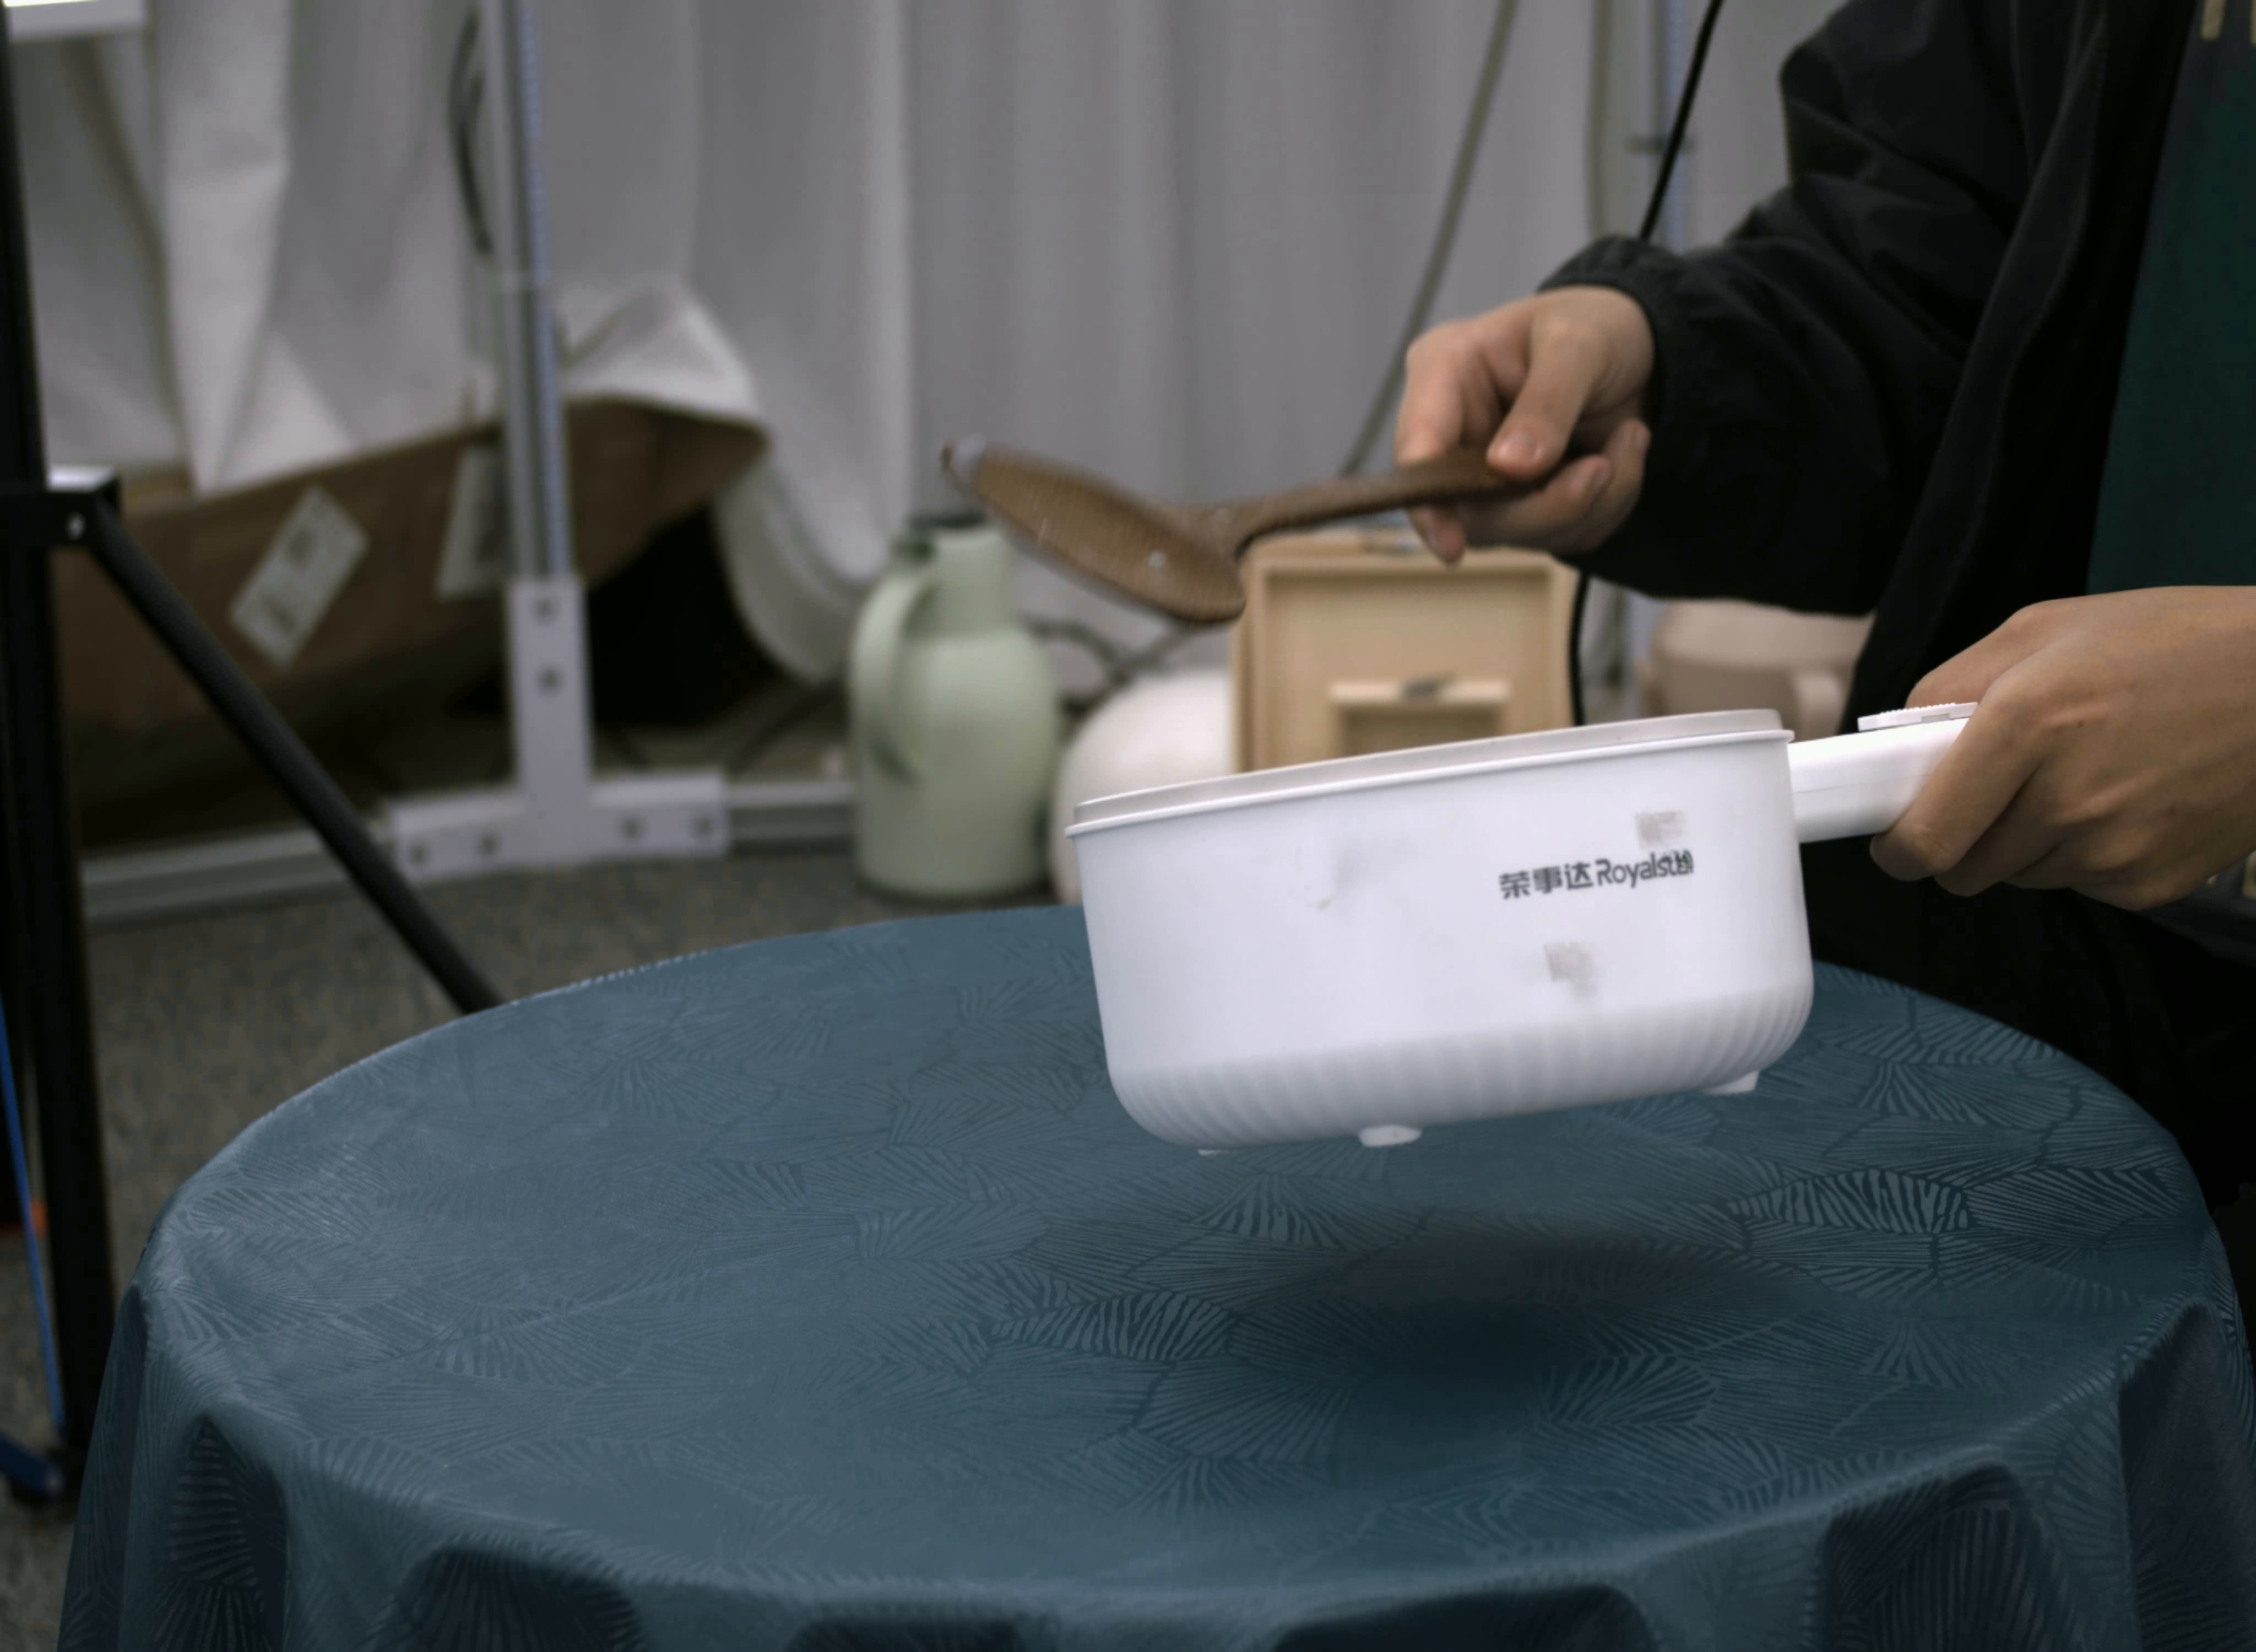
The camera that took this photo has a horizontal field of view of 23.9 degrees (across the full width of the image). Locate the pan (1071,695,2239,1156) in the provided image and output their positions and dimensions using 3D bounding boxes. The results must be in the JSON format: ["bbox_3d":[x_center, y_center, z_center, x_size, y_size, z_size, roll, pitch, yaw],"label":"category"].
[{"bbox_3d":[0.158,0.026,1.472,0.347,0.103,0.204,-5,-3,-23],"label":"pan"}]

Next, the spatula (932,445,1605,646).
[{"bbox_3d":[0.064,-0.098,1.690,0.097,0.016,0.378,32,23,23],"label":"spatula"}]
